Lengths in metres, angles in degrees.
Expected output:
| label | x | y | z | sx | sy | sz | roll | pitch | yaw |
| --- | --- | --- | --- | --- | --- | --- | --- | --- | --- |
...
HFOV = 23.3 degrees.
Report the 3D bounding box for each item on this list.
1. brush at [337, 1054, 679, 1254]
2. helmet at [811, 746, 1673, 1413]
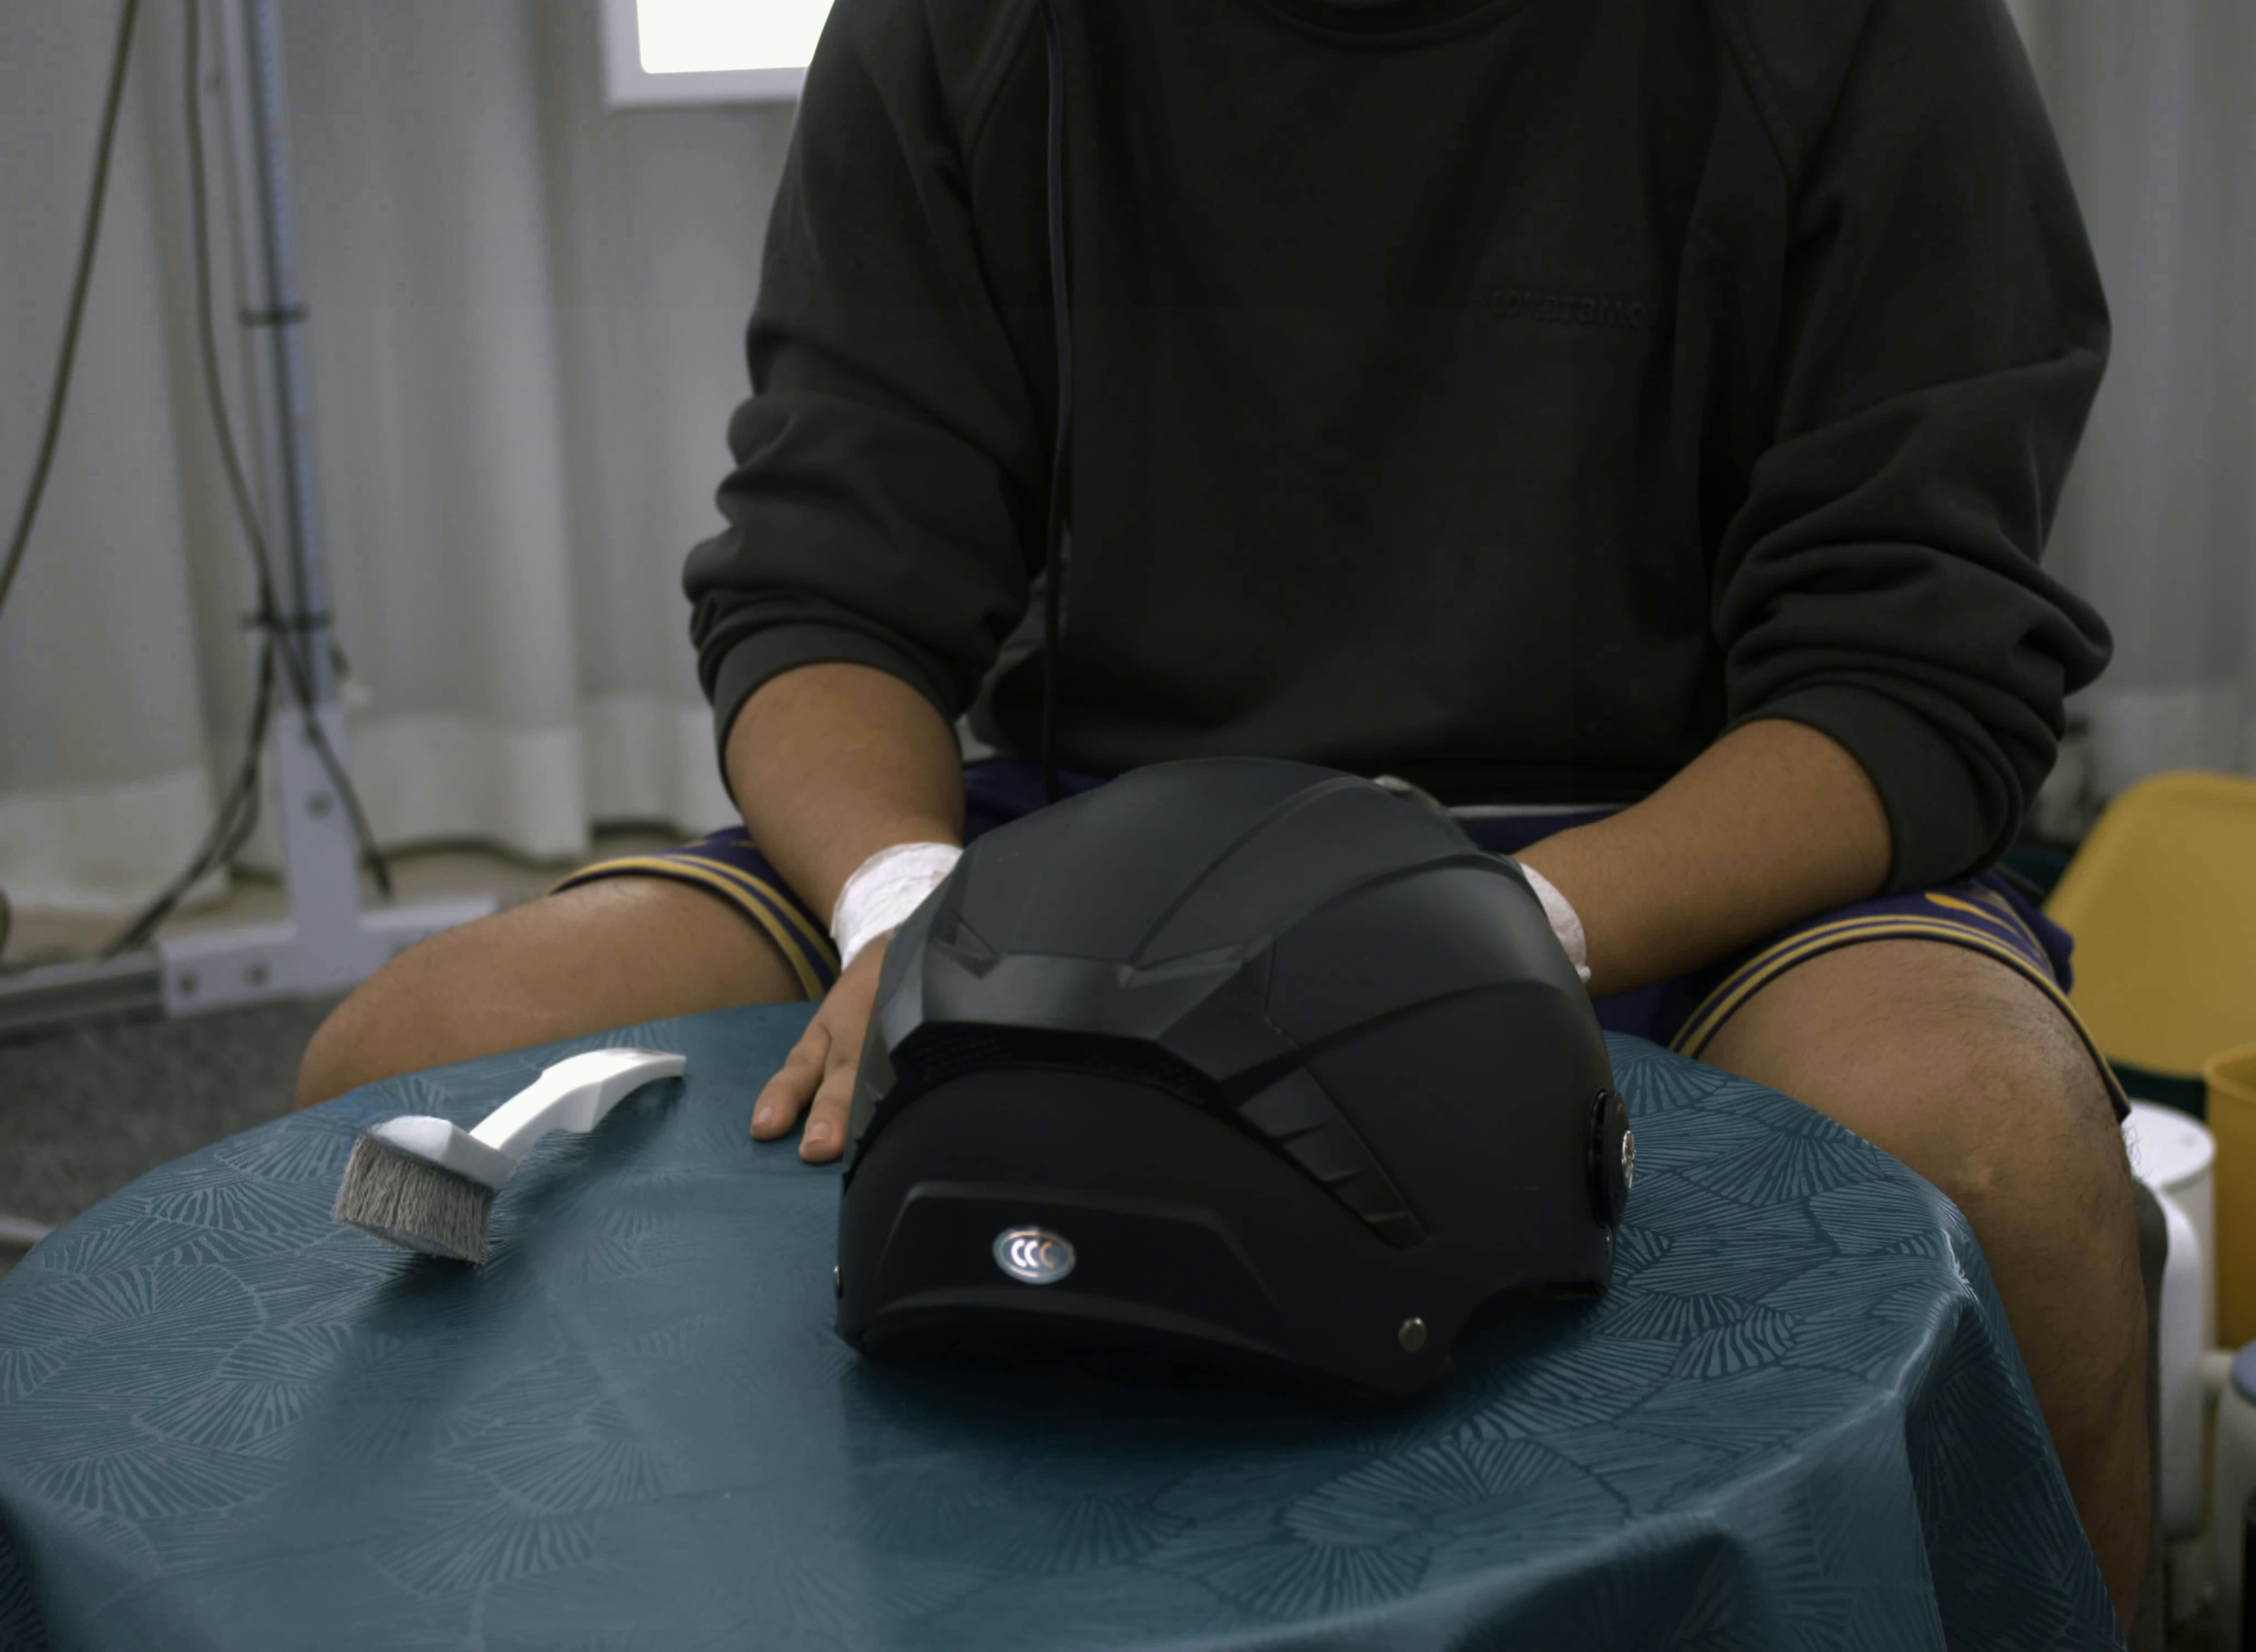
| label | x | y | z | sx | sy | sz | roll | pitch | yaw |
| --- | --- | --- | --- | --- | --- | --- | --- | --- | --- |
| brush | -0.193 | 0.105 | 1.749 | 0.034 | 0.050 | 0.243 | 8 | 4 | 14 |
| helmet | 0.032 | 0.063 | 1.596 | 0.247 | 0.171 | 0.277 | 4 | 18 | 25 |
